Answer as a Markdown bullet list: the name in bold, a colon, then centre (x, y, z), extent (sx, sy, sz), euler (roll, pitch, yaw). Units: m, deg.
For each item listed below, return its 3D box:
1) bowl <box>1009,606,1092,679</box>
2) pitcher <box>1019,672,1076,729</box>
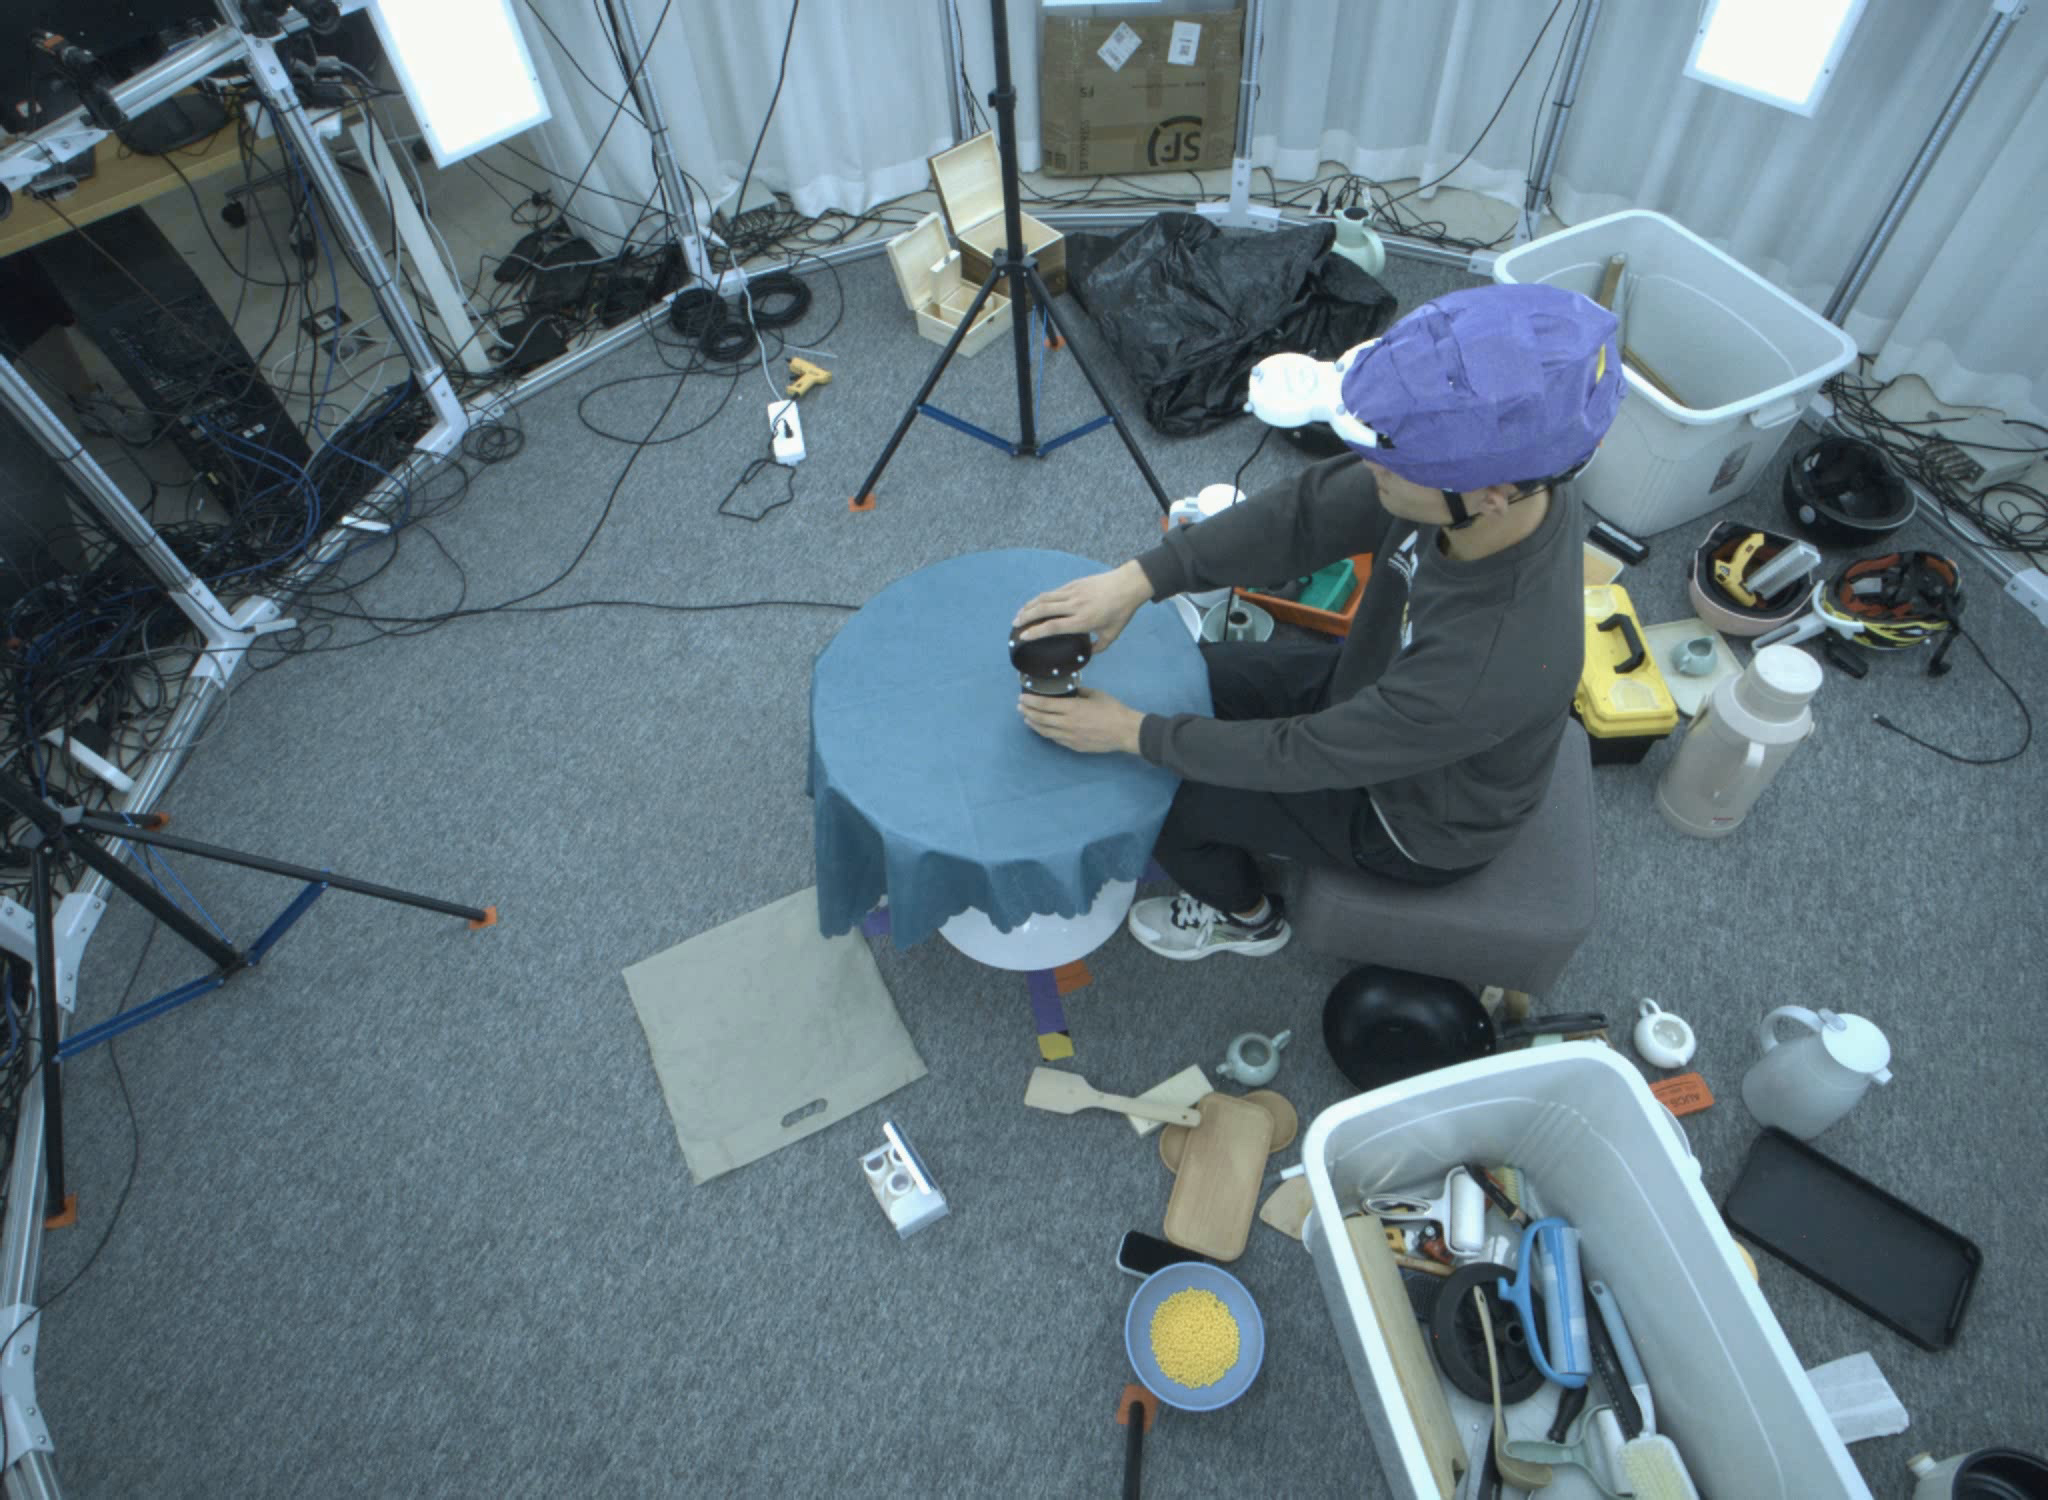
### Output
- **bowl**: centre (0.035, -0.160, 1.747), extent (0.118, 0.119, 0.069), euler (-6, 62, -1)
- **pitcher**: centre (0.036, -0.076, 1.789), extent (0.083, 0.072, 0.096), euler (9, 35, 16)
